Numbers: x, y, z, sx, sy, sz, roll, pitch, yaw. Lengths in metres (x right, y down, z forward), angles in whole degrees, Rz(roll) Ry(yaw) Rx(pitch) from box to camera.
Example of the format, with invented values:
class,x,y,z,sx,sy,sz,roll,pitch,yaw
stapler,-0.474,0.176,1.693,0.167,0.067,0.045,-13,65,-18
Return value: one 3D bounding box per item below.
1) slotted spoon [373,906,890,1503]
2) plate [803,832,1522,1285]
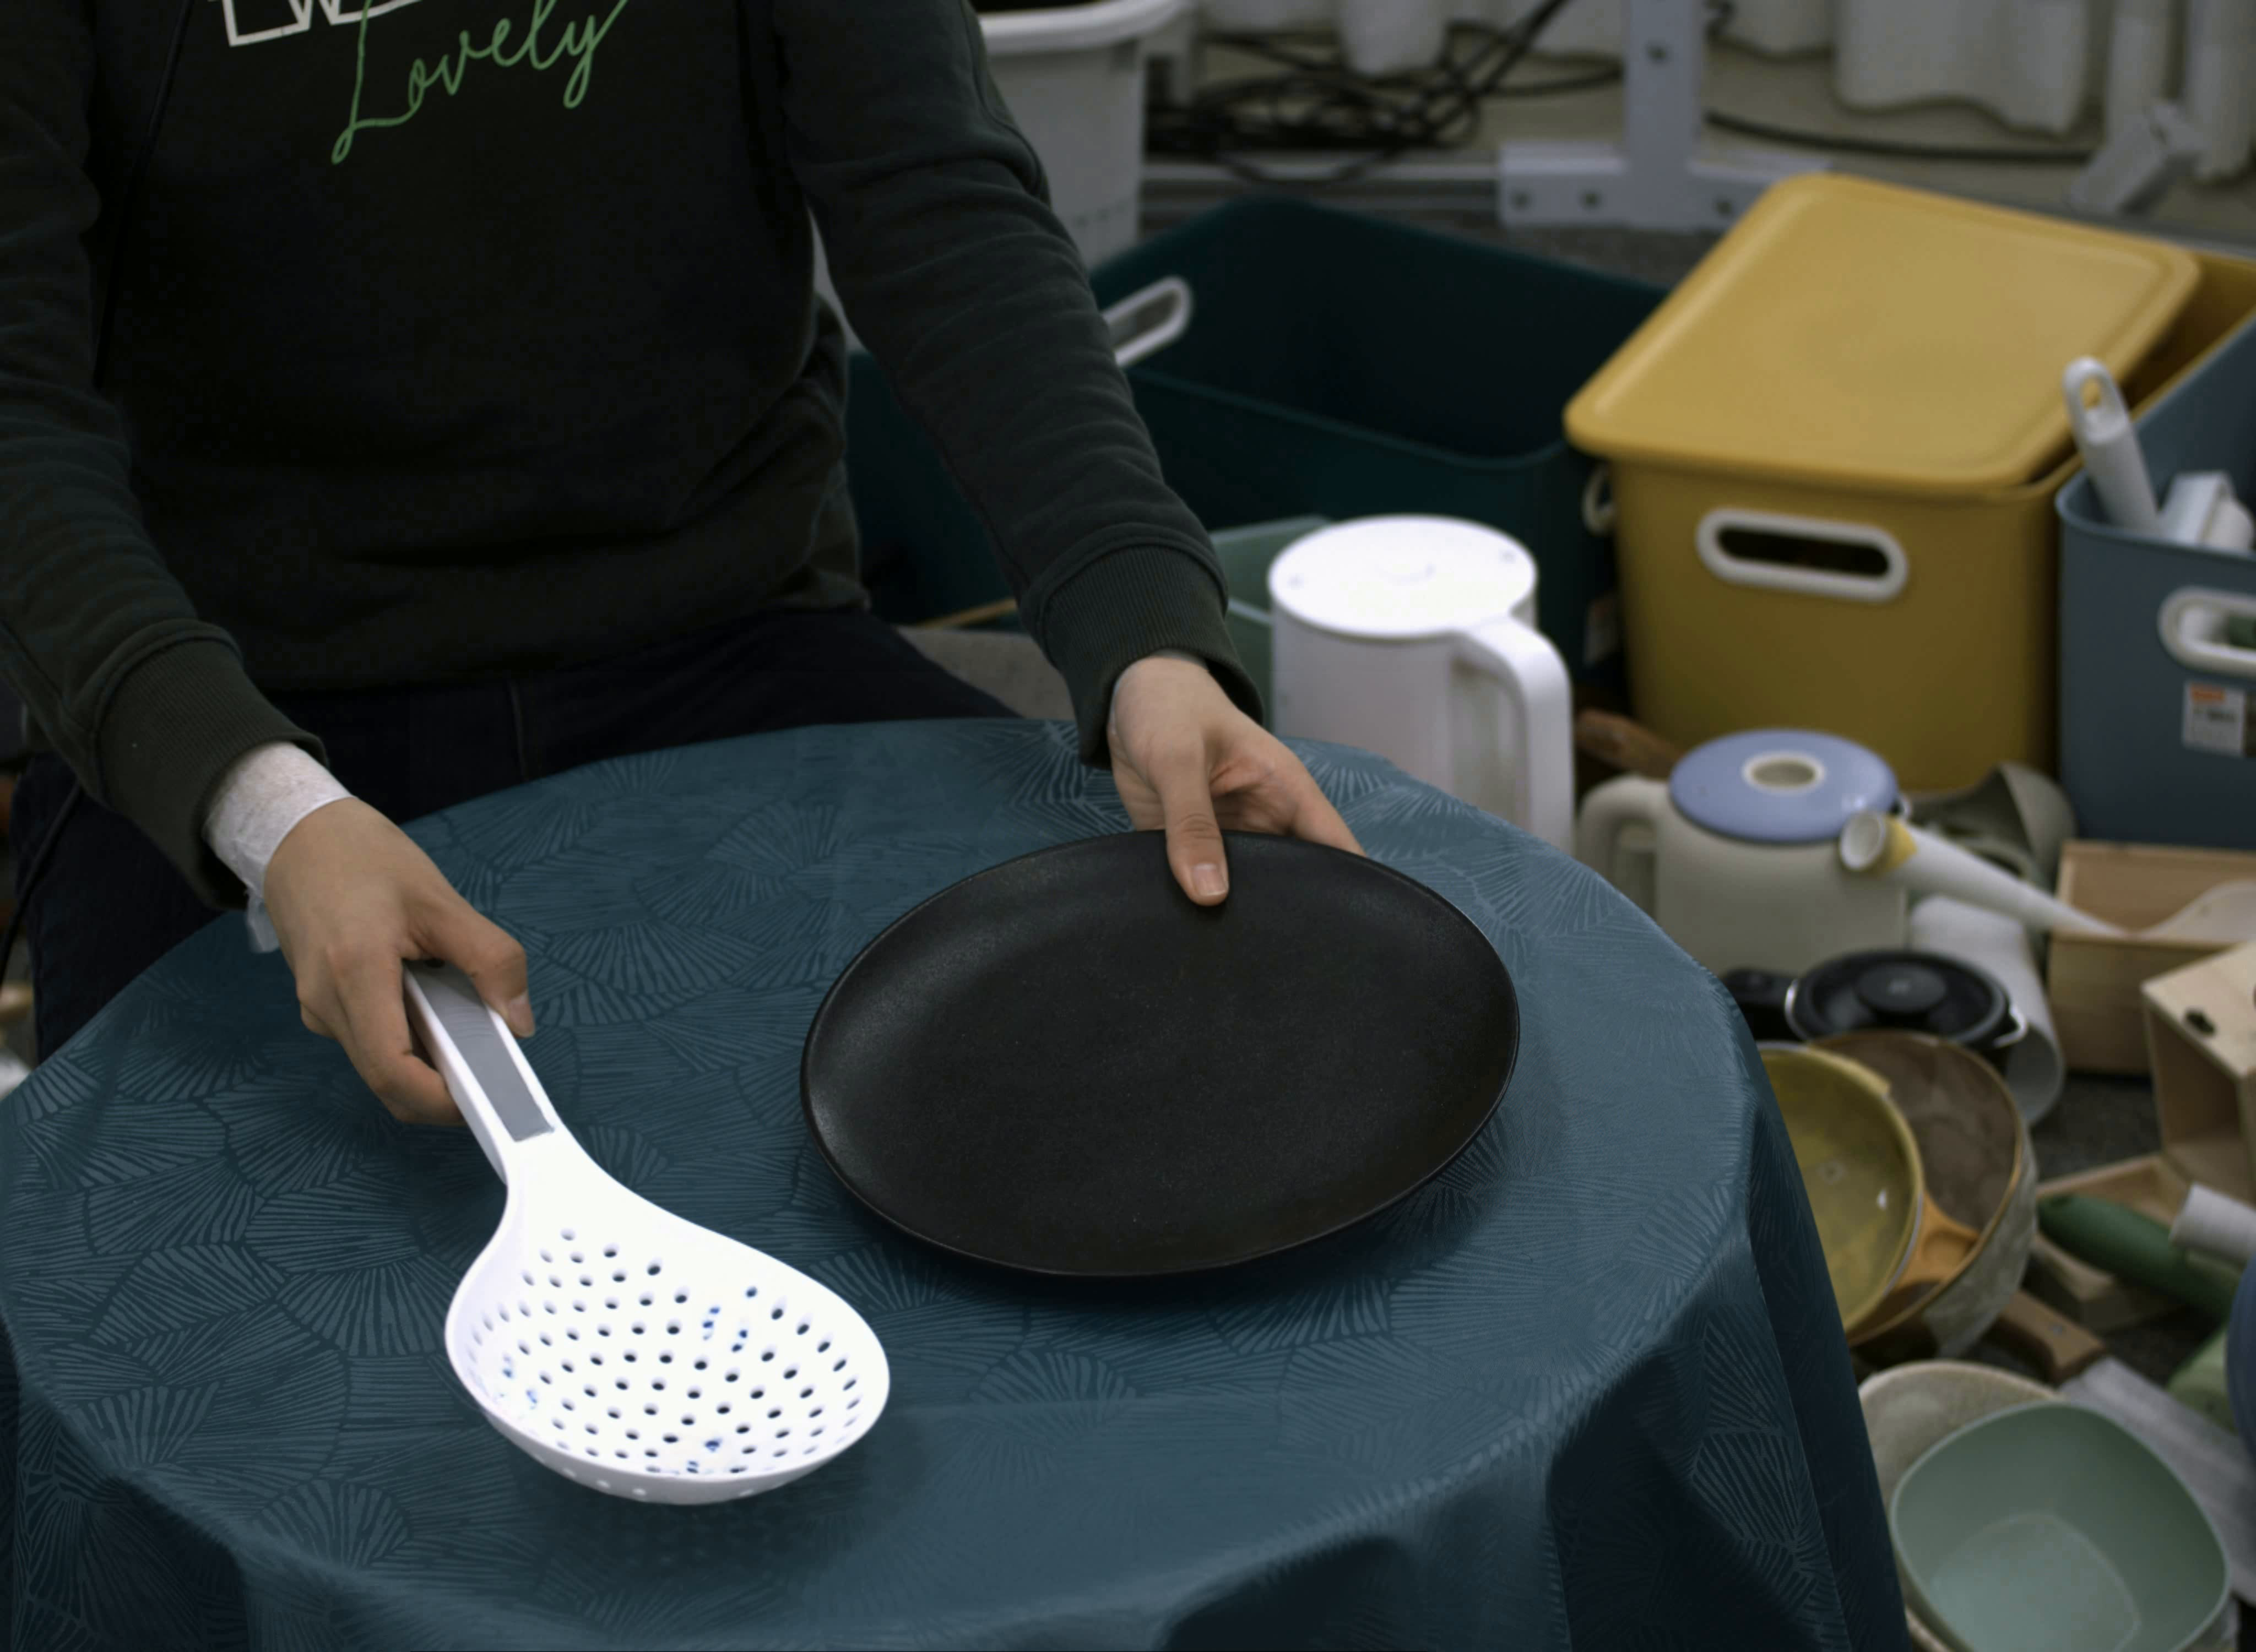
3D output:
class,x,y,z,sx,sy,sz,roll,pitch,yaw
slotted spoon,-0.183,0.116,1.798,0.136,0.045,0.353,-1,33,-26
plate,0.012,0.080,1.889,0.243,0.023,0.249,-4,34,3
